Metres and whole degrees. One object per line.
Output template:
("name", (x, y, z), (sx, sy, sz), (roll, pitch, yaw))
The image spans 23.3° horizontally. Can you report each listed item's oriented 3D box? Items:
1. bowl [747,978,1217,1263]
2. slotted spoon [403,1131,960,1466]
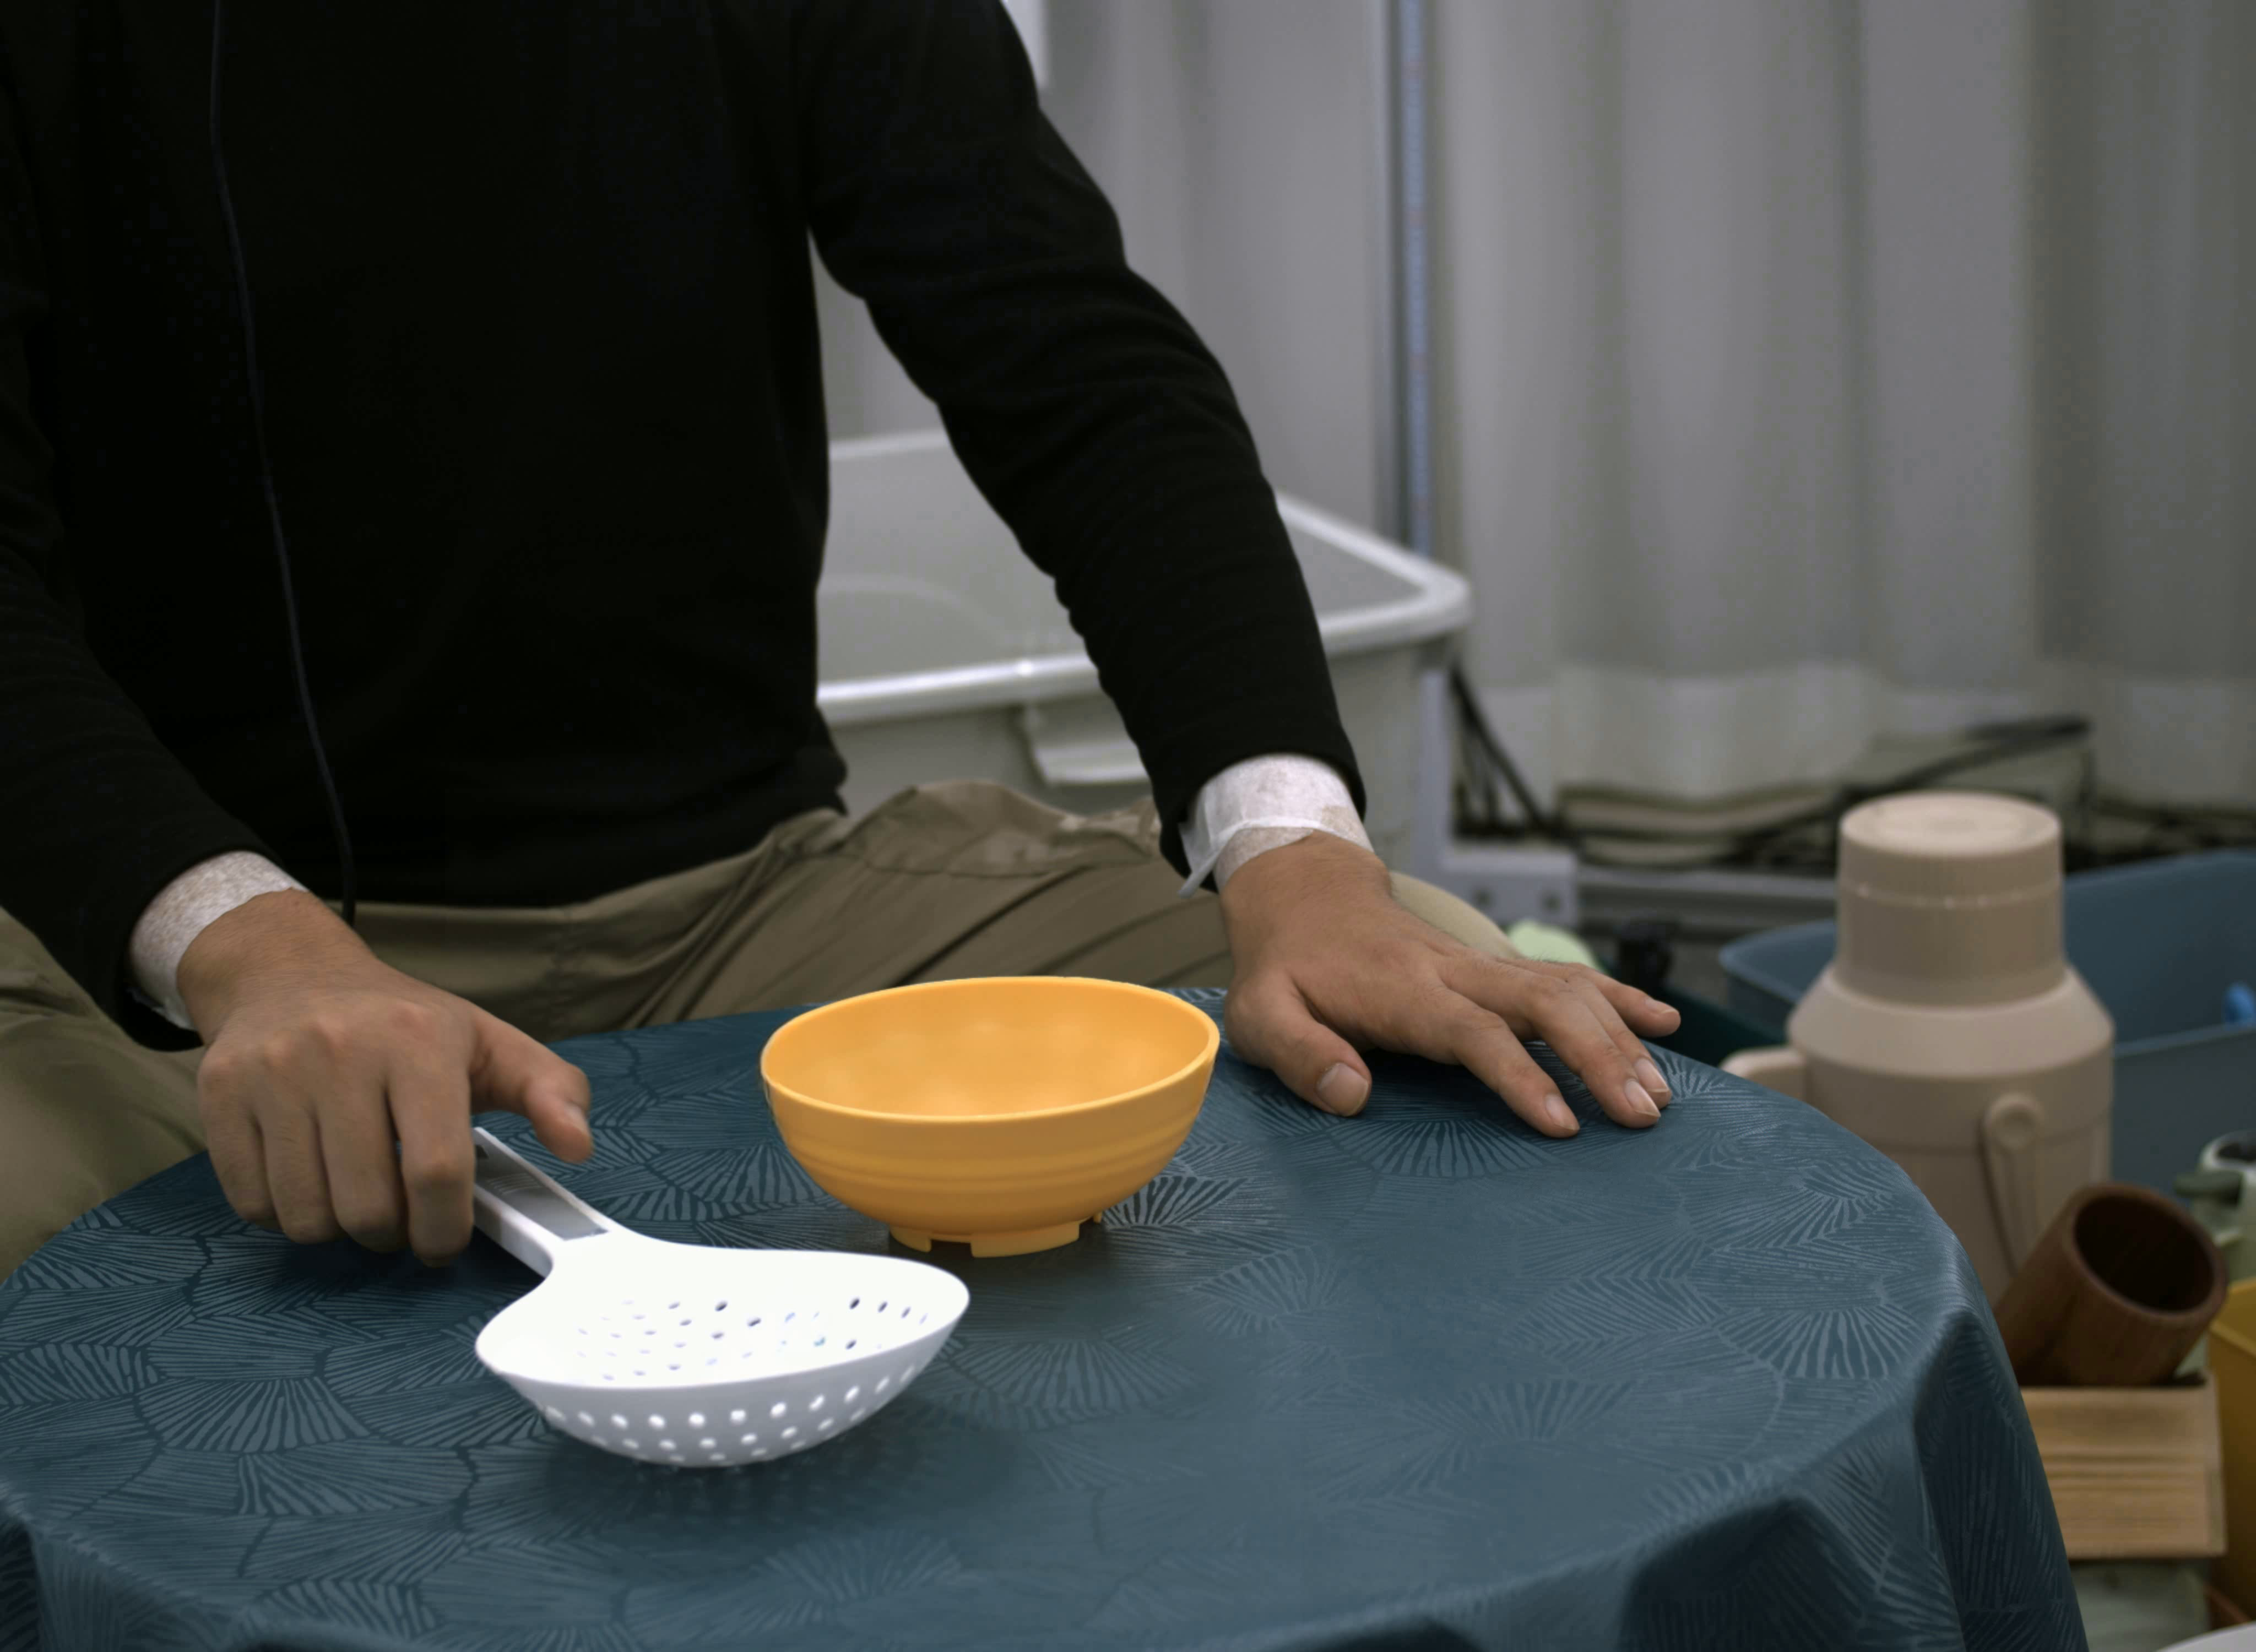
("bowl", (-0.045, 0.096, 1.686), (0.145, 0.060, 0.146), (-1, 15, 0))
("slotted spoon", (-0.155, 0.129, 1.603), (0.135, 0.045, 0.352), (-11, 16, -21))
